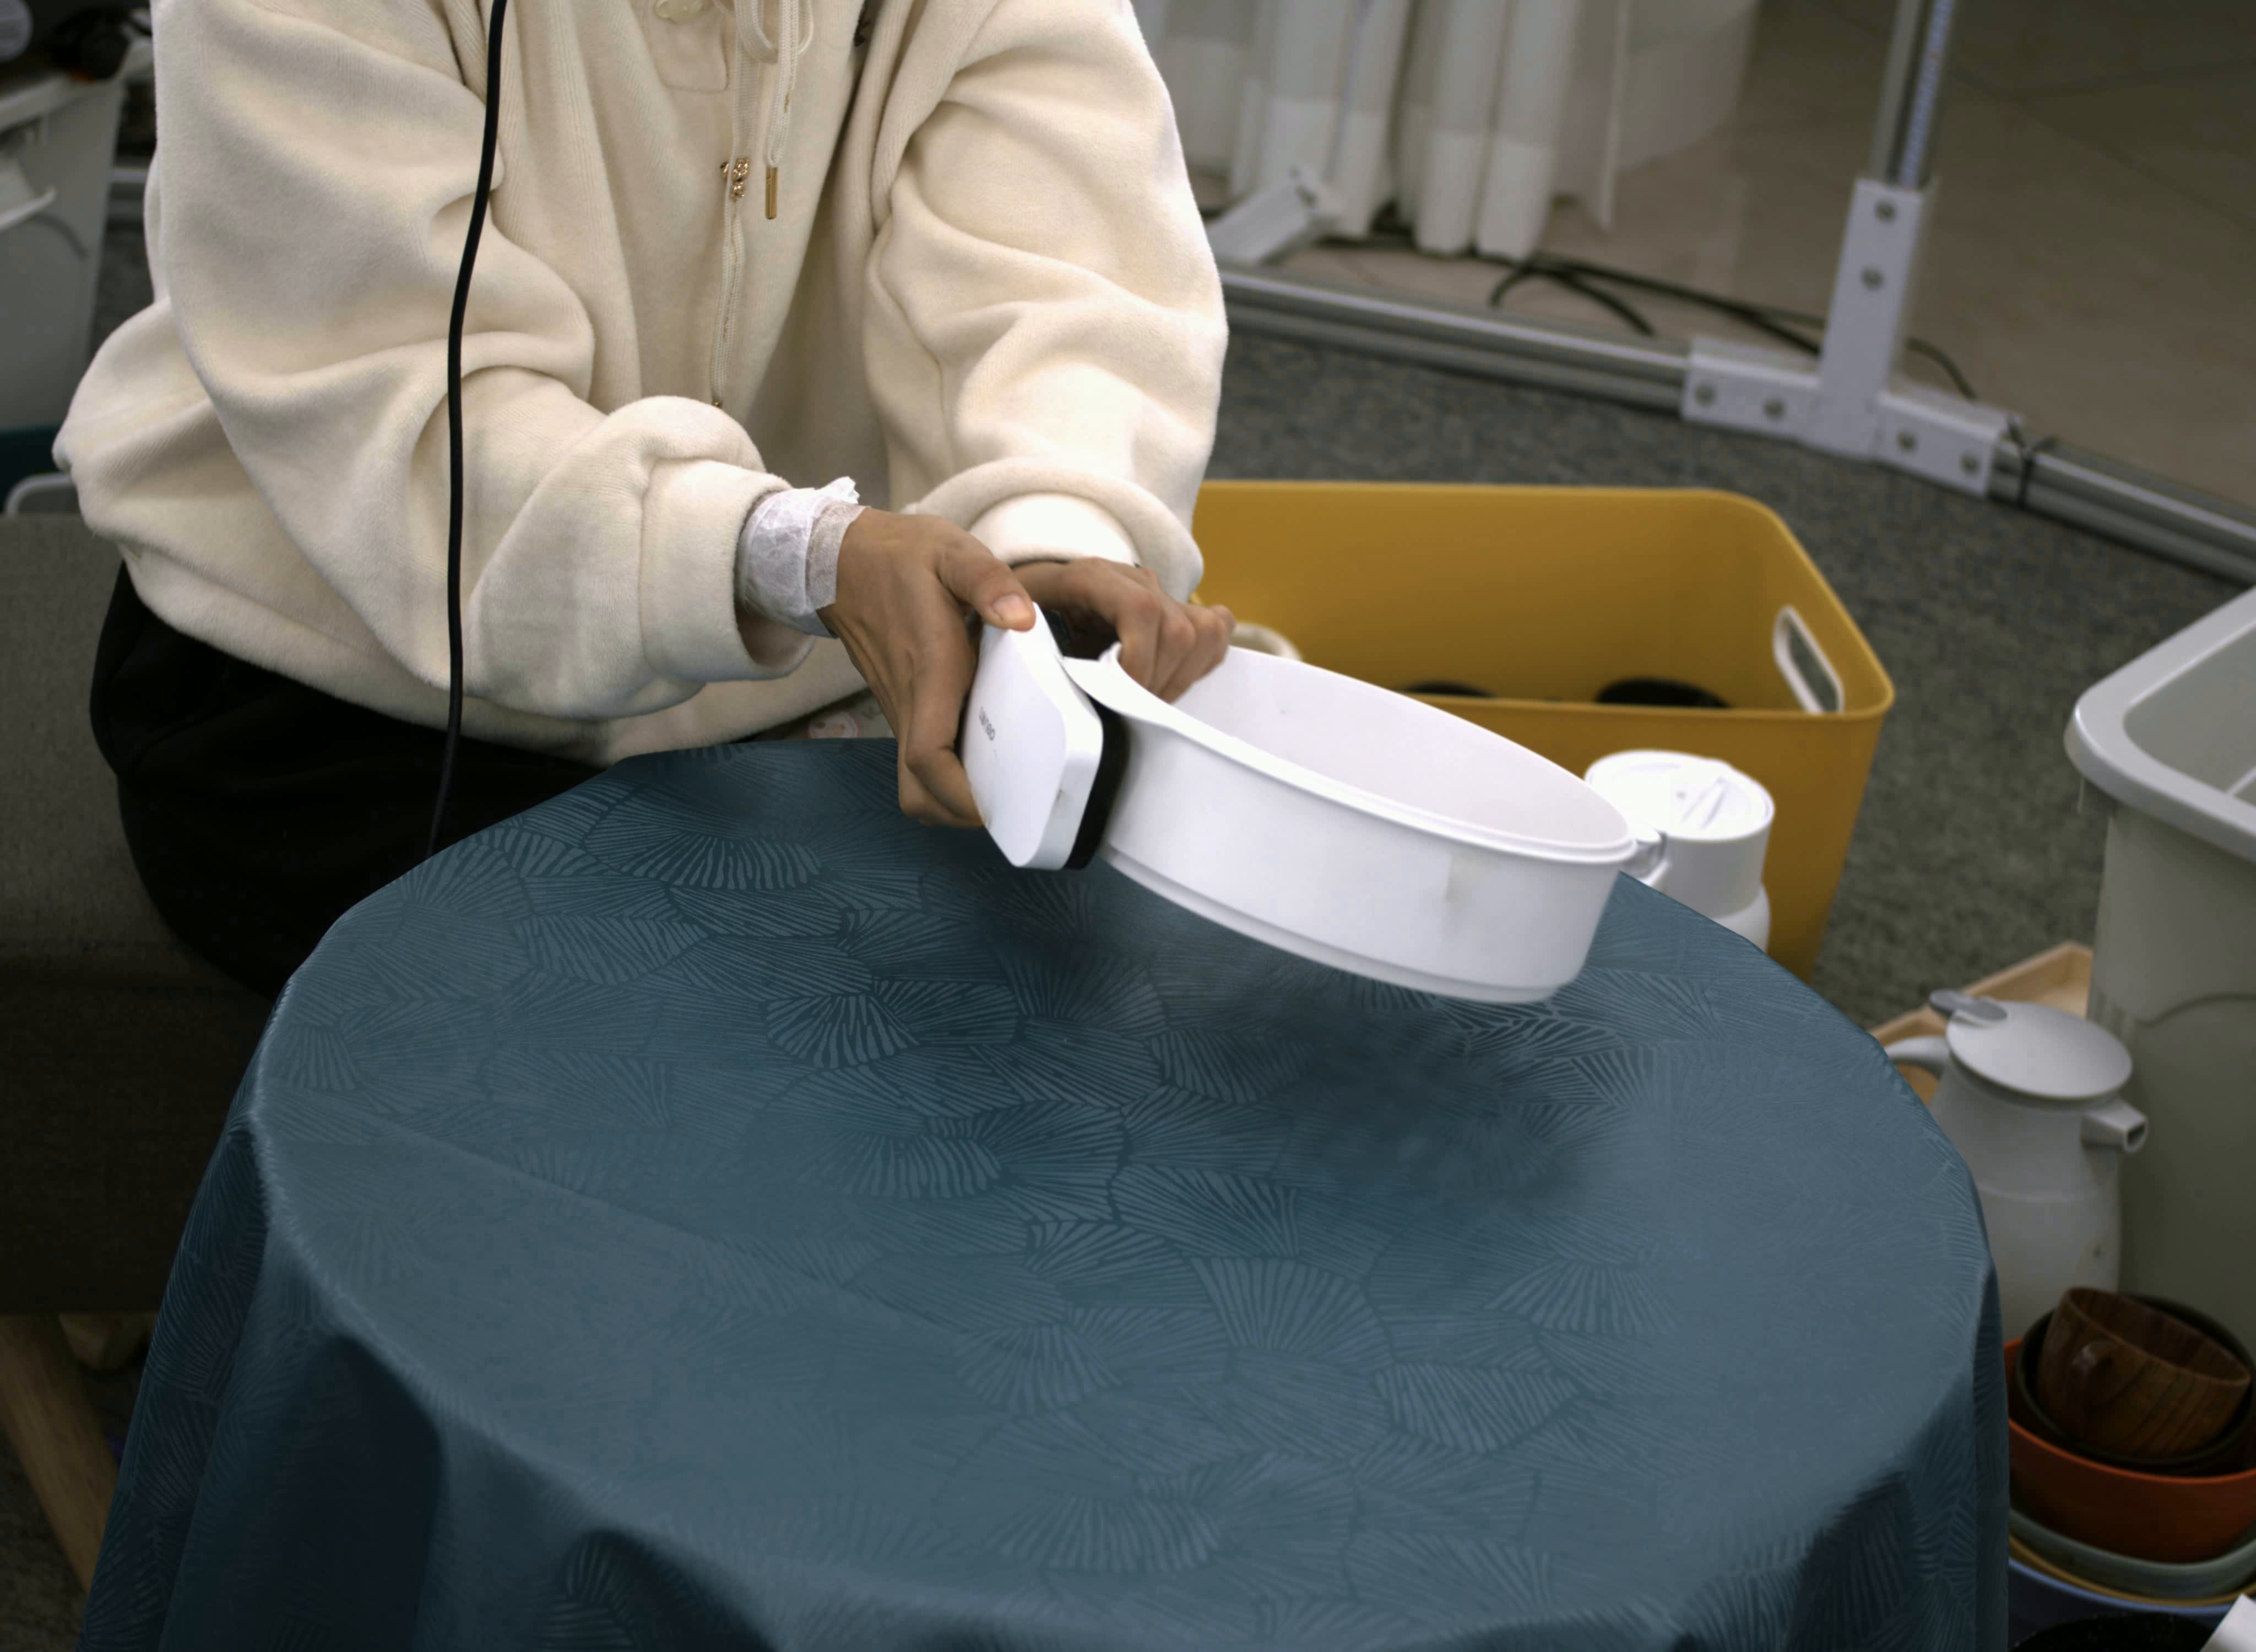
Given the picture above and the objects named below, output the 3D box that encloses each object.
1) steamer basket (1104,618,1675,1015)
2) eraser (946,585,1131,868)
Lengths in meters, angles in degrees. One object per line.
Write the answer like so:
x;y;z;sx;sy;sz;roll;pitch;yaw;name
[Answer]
0.084;-0.002;1.894;0.228;0.069;0.203;19;13;-26;steamer basket
-0.035;-0.037;1.888;0.034;0.063;0.132;10;24;-21;eraser
